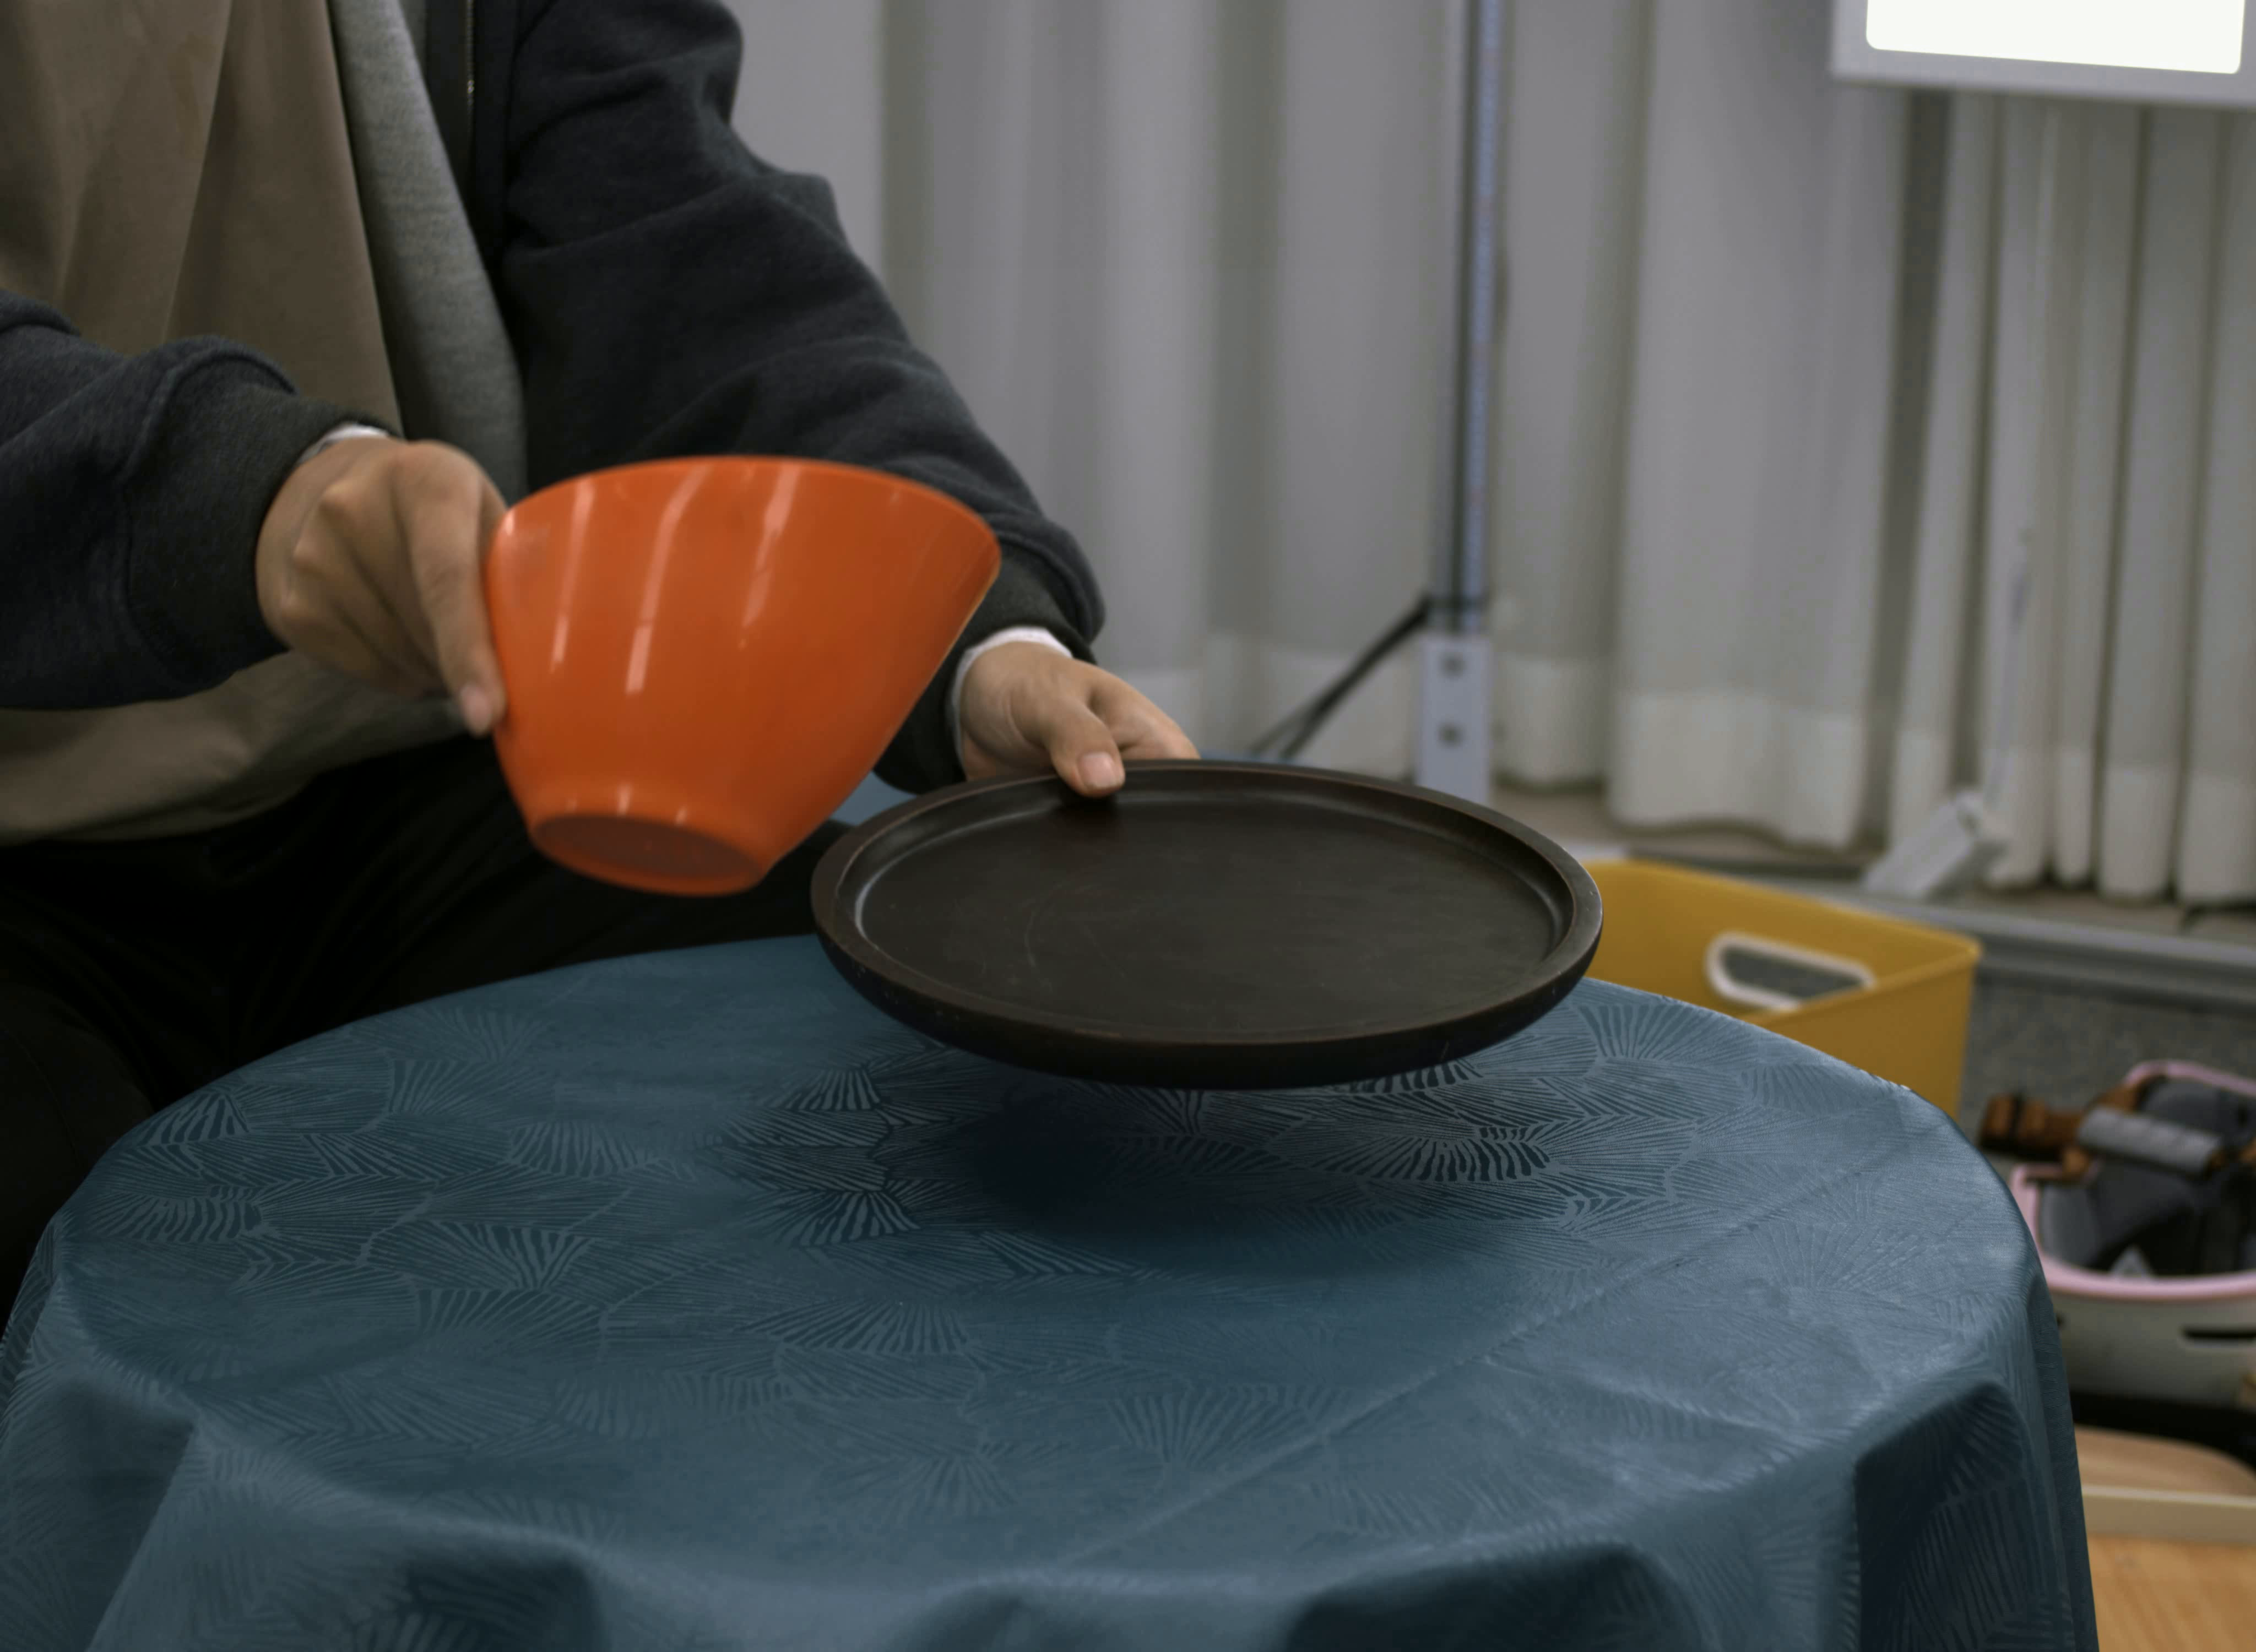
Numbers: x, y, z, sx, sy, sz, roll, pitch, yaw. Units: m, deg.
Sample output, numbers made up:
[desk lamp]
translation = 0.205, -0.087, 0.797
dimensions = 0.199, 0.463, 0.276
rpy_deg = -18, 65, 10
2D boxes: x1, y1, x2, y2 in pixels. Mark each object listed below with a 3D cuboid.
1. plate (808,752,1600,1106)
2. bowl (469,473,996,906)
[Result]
[plate]
translation = 0.024, 0.031, 1.675
dimensions = 0.254, 0.029, 0.253
rpy_deg = 1, 21, 0
[bowl]
translation = -0.118, -0.035, 1.478
dimensions = 0.147, 0.104, 0.149
rpy_deg = 8, -16, 3
